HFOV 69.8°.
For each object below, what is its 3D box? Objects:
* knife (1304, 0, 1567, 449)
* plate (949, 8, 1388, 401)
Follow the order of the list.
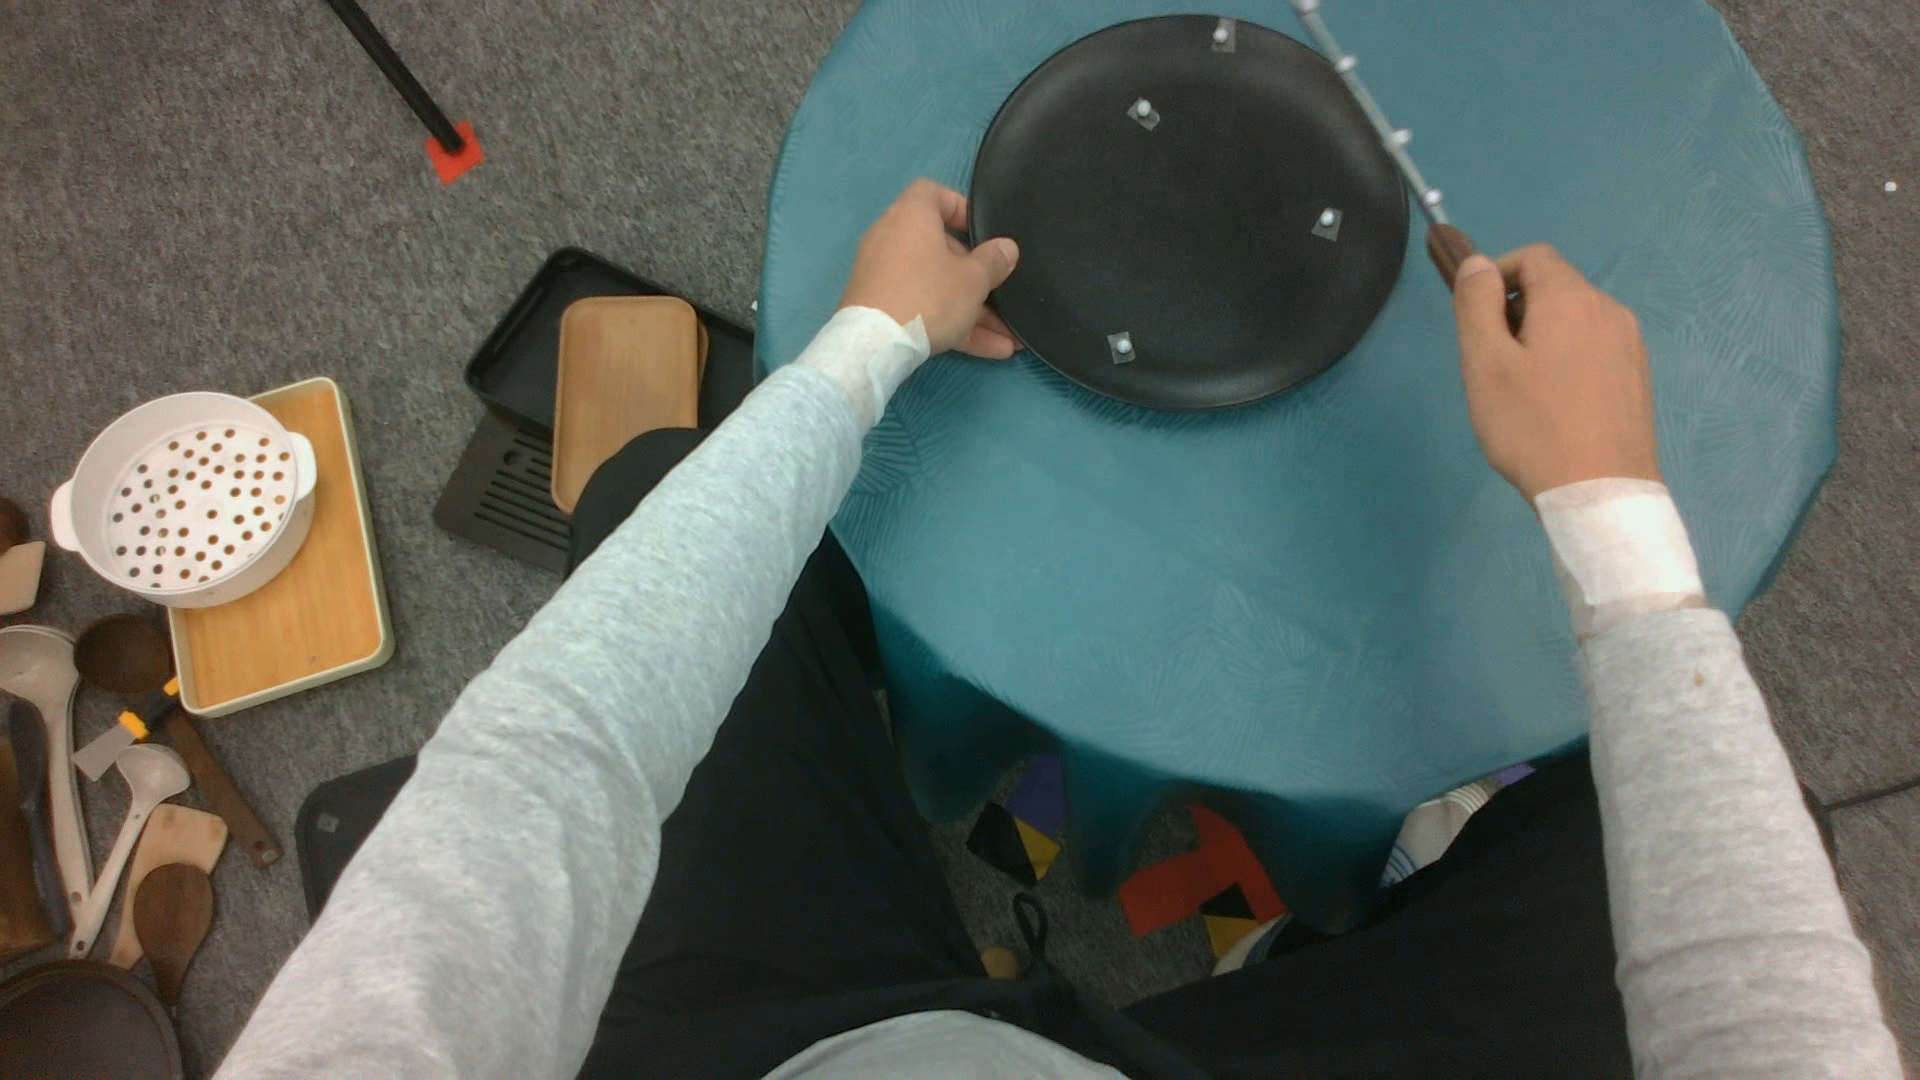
[{"bbox_3d":[0.220,-0.174,0.670,0.020,0.050,0.289,-30,76,30],"label":"knife"},{"bbox_3d":[0.116,-0.189,0.776,0.244,0.023,0.245,0,75,1],"label":"plate"}]
